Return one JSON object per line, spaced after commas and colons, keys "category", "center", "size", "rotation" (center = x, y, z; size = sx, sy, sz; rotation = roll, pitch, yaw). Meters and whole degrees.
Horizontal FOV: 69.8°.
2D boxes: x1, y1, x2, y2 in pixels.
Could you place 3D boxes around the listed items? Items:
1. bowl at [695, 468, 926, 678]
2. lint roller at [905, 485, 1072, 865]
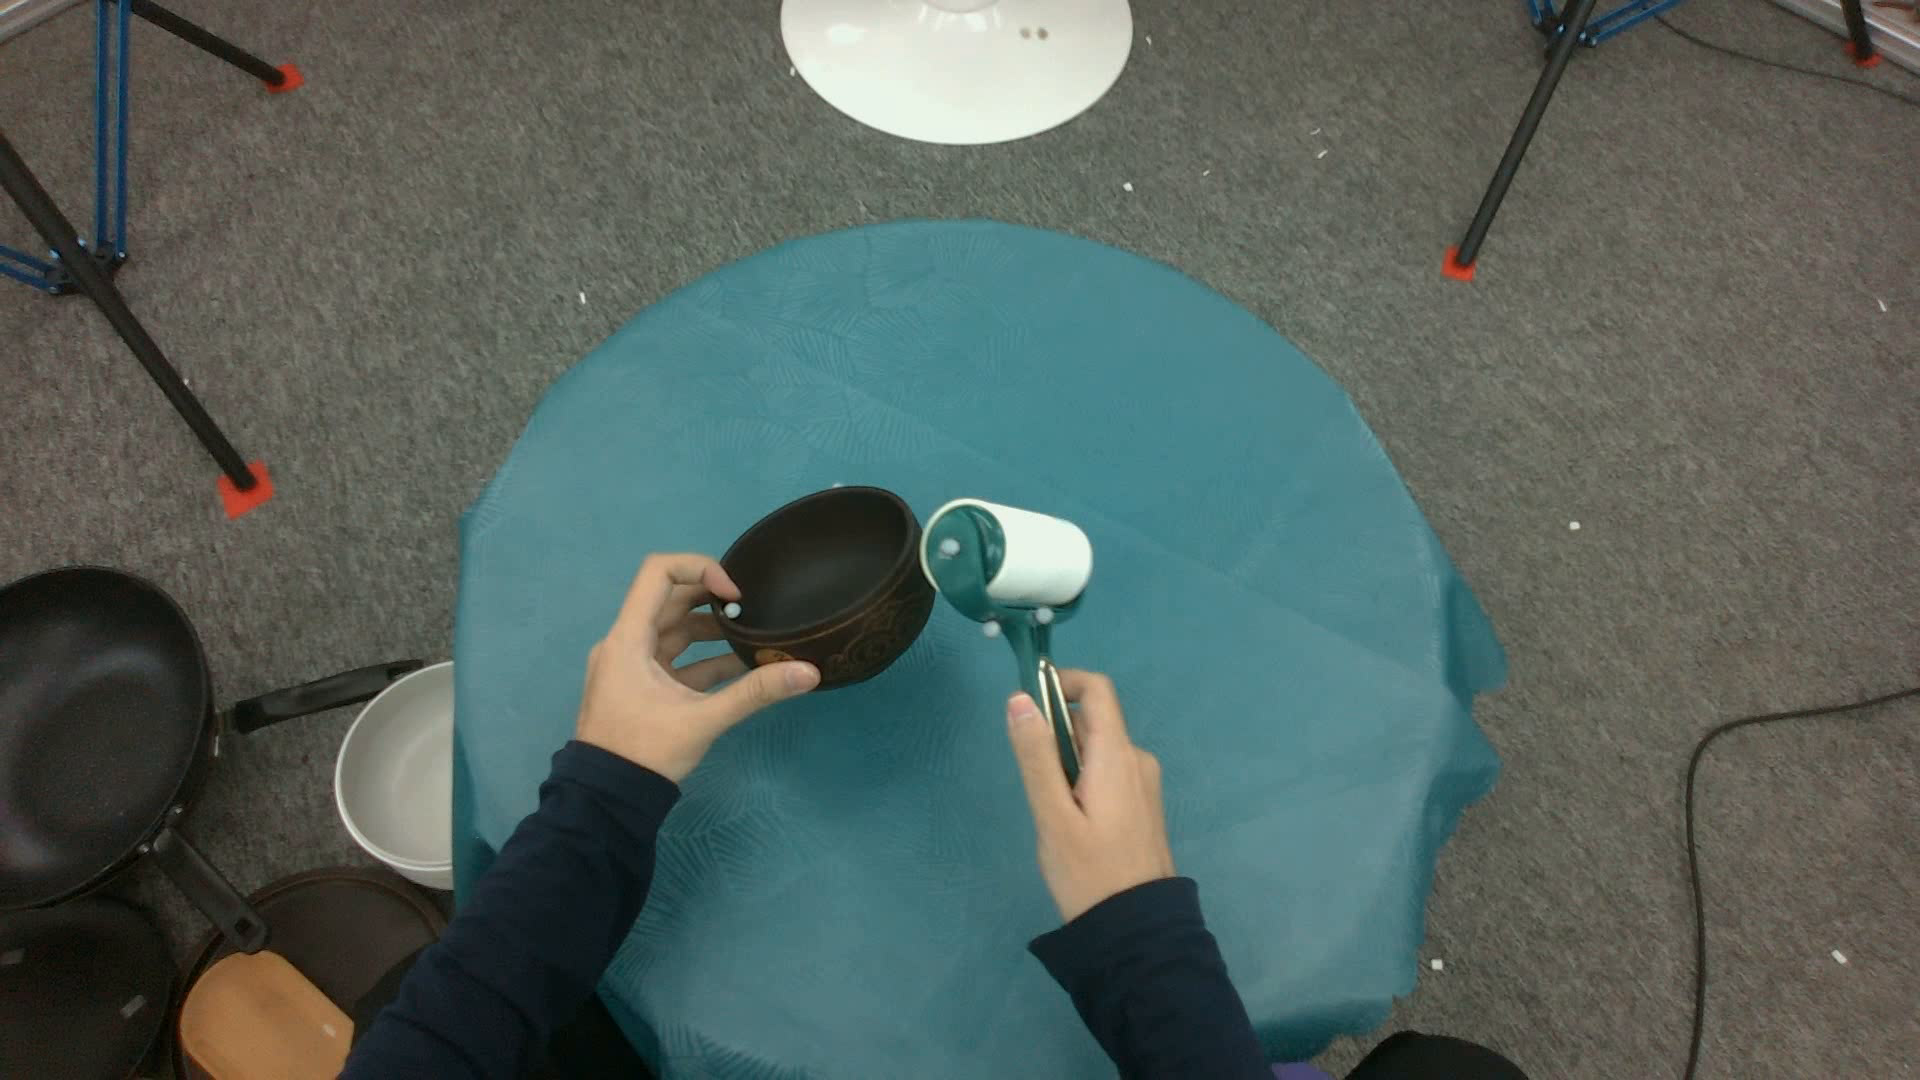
{"category": "bowl", "center": [-0.072, 0.024, 0.723], "size": [0.118, 0.069, 0.118], "rotation": [-12, 40, 11]}
{"category": "lint roller", "center": [0.035, 0.063, 0.663], "size": [0.048, 0.134, 0.180], "rotation": [-23, 77, 22]}
